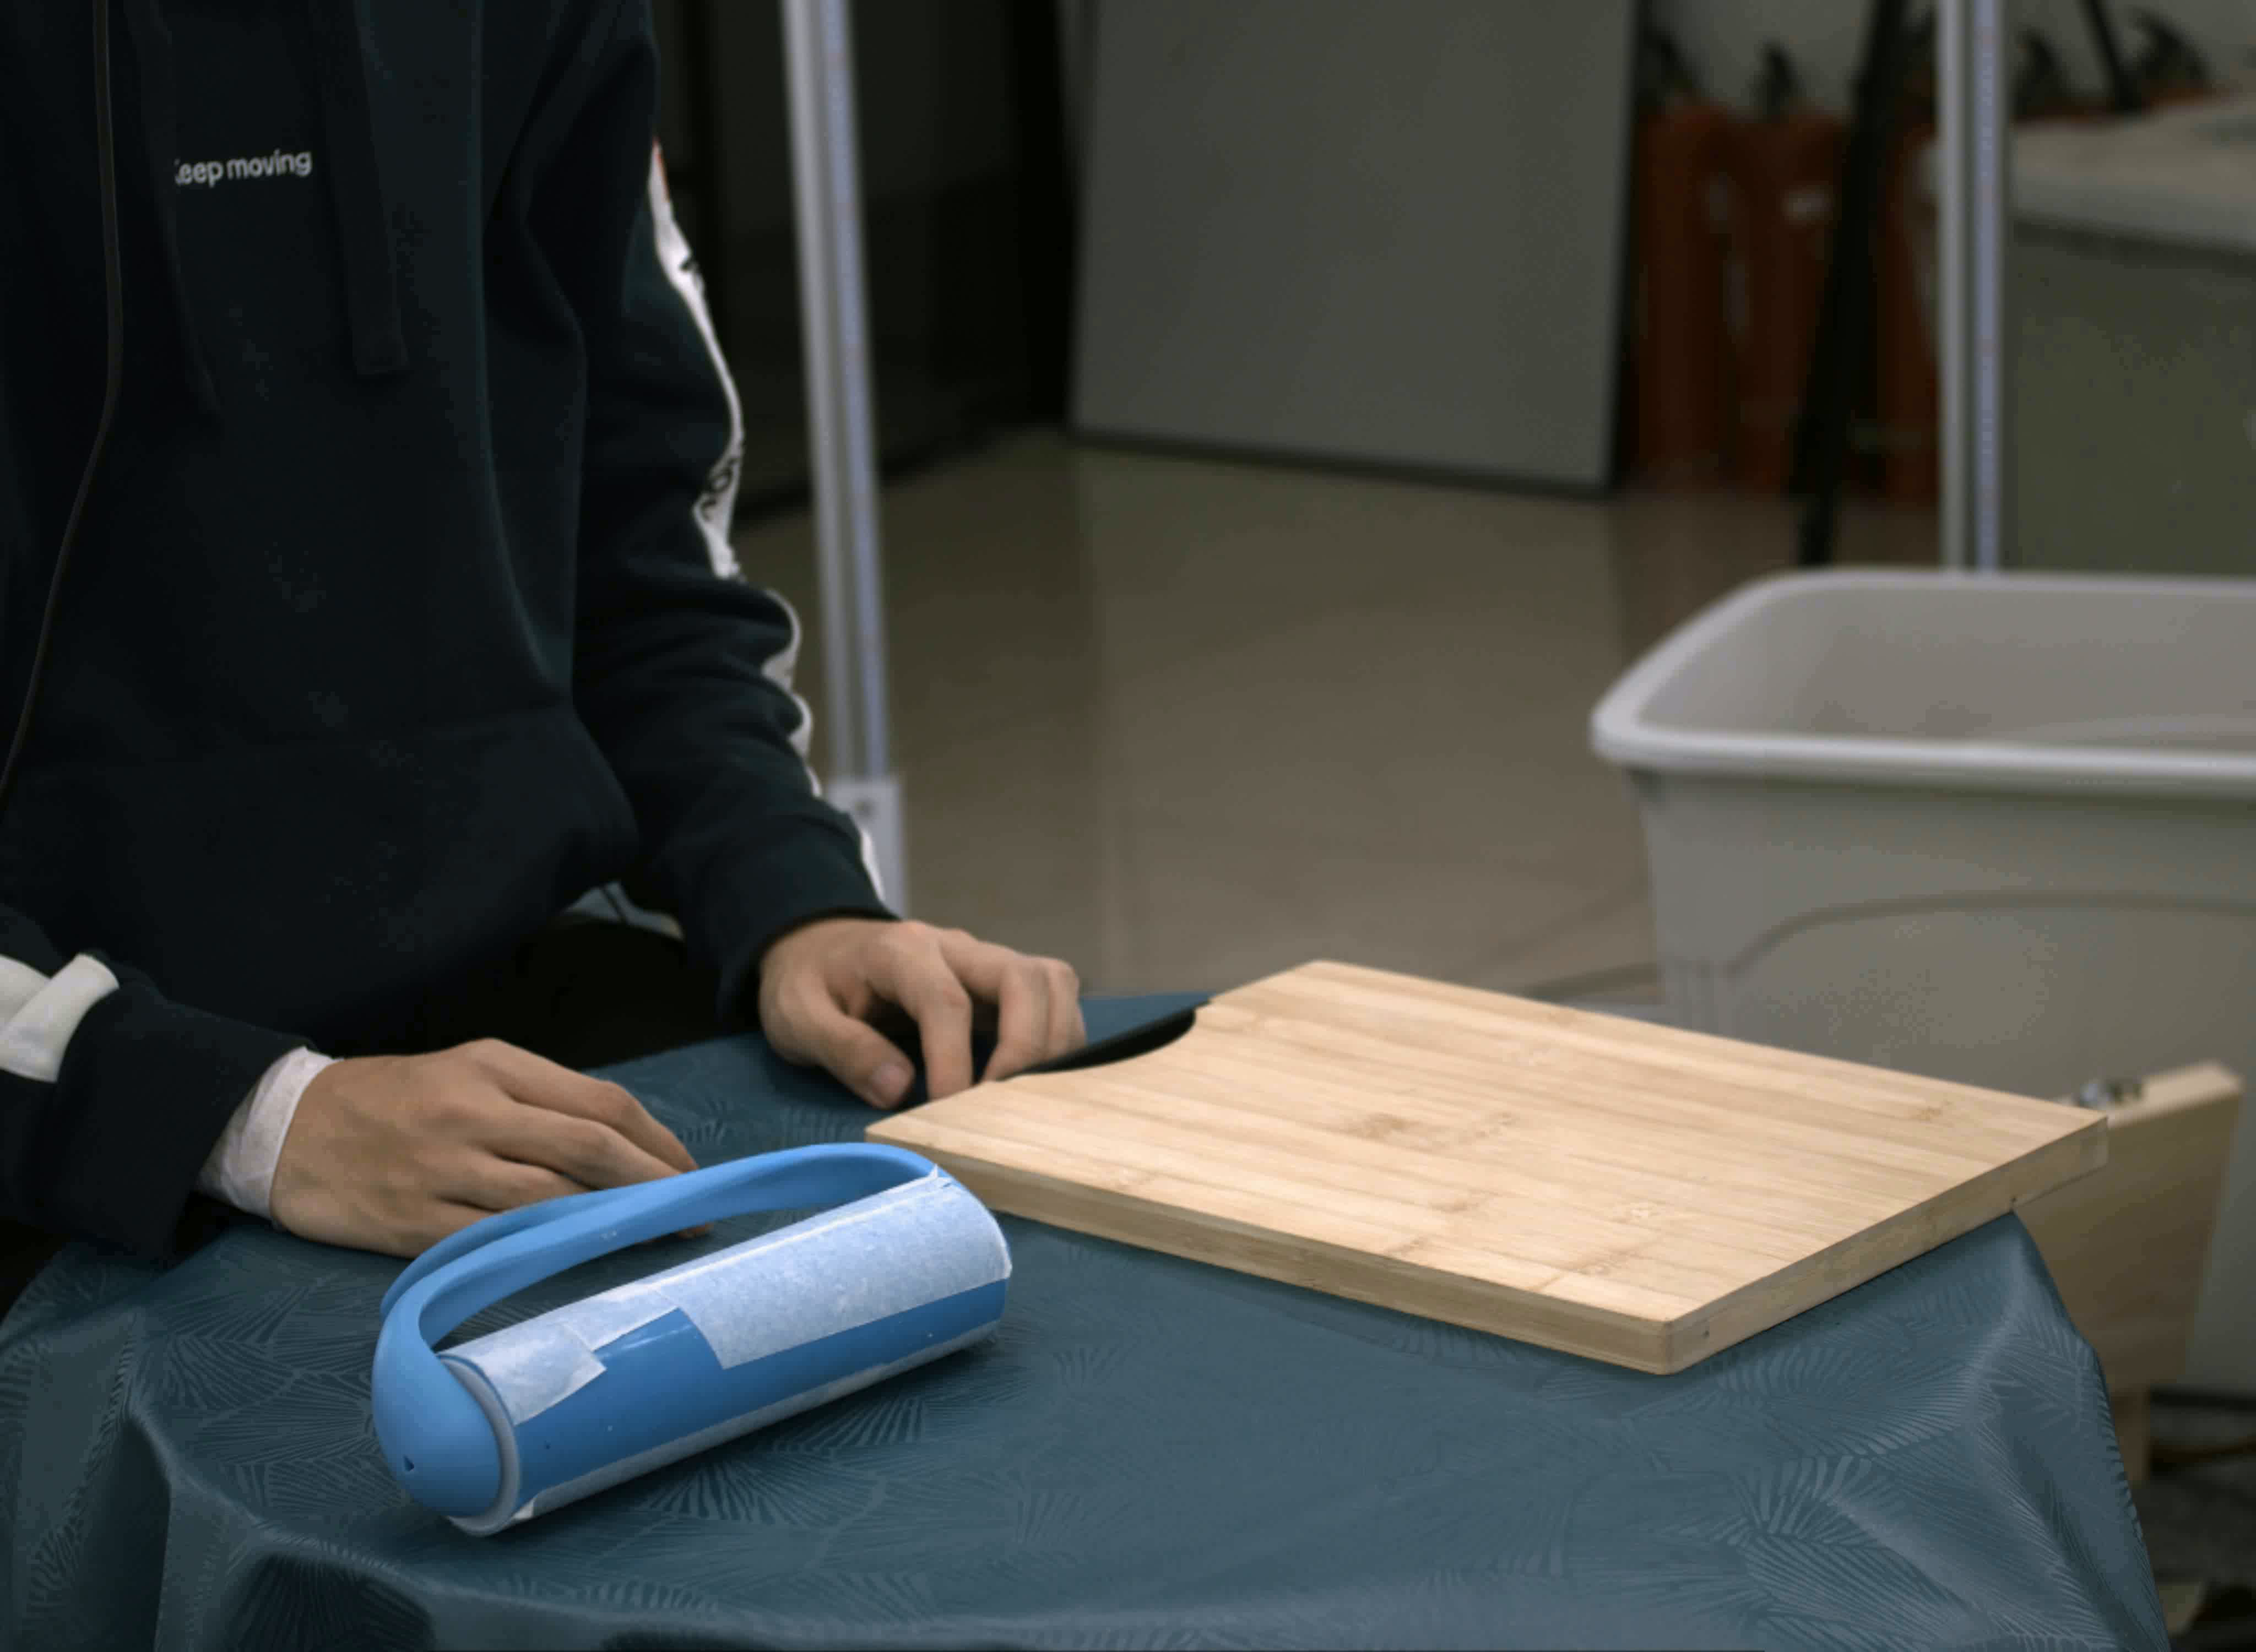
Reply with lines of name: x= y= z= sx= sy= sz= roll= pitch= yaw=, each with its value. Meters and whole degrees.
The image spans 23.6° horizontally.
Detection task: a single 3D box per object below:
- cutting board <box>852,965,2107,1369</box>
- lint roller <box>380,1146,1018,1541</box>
cutting board: x=0.111 y=0.106 z=1.767 sx=0.351 sy=0.024 sz=0.246 roll=9 pitch=19 yaw=42
lint roller: x=-0.162 y=0.144 z=1.607 sx=0.182 sy=0.068 sz=0.224 roll=9 pitch=20 yaw=42
